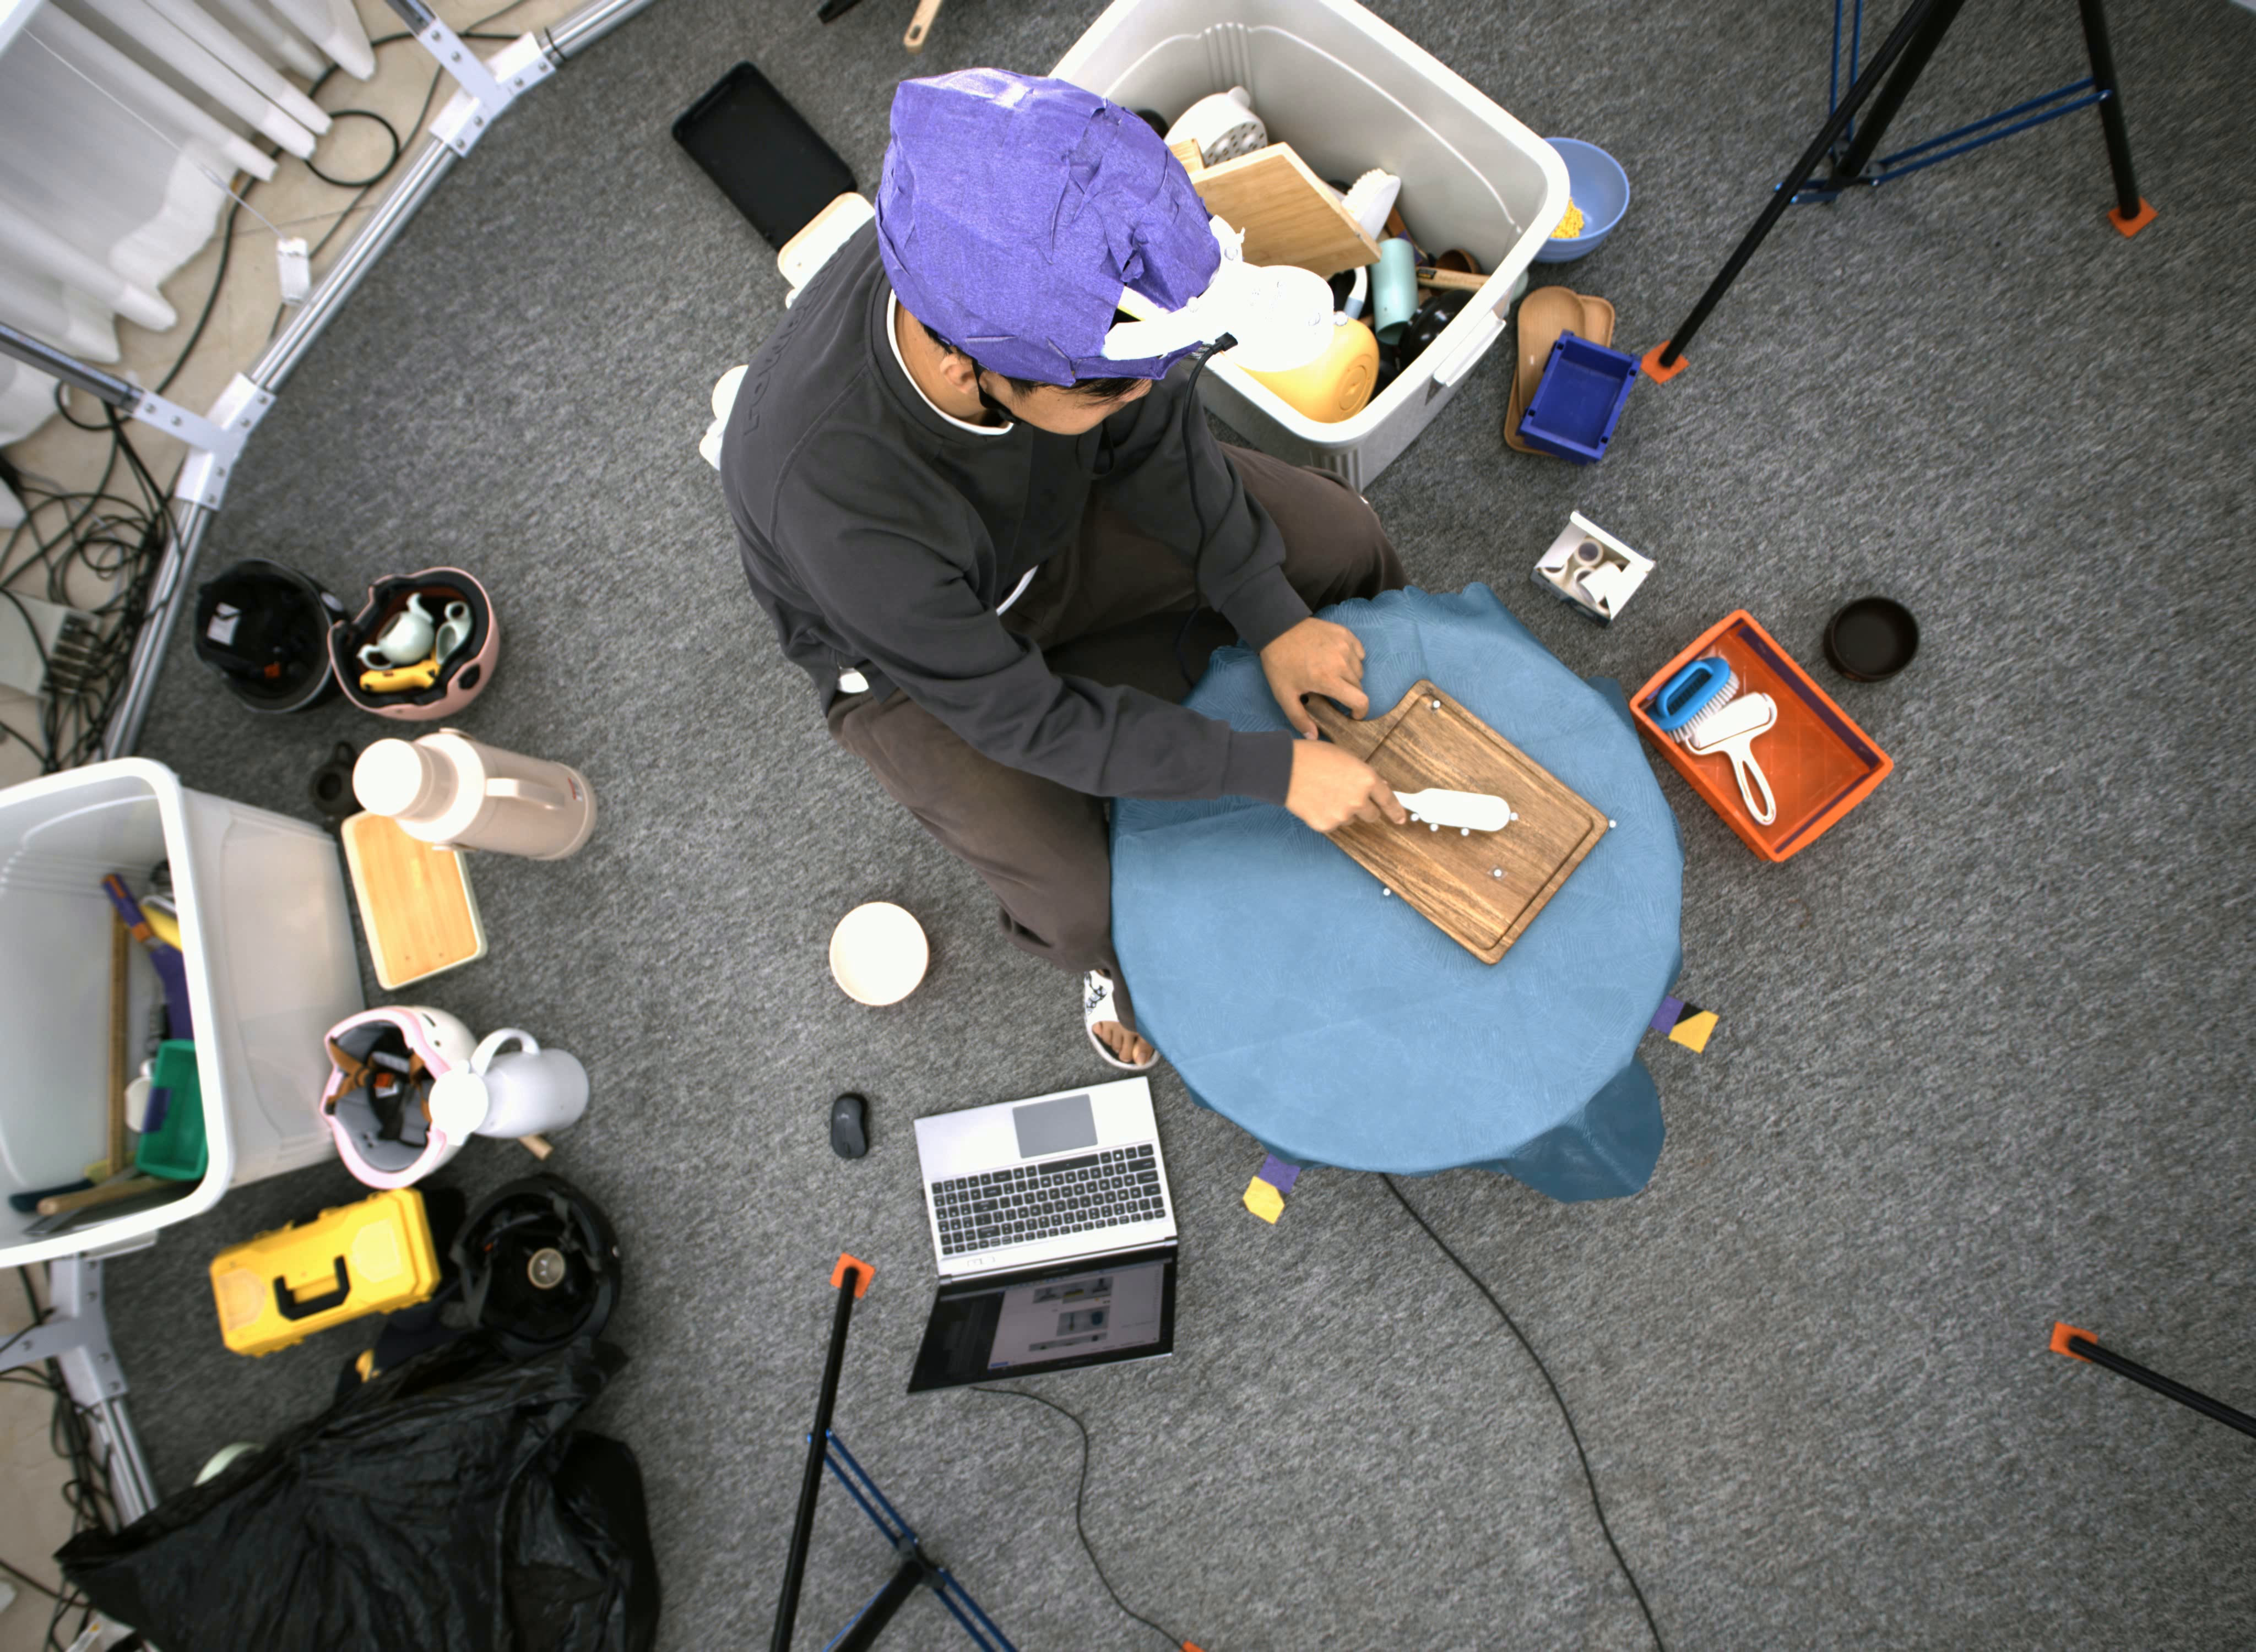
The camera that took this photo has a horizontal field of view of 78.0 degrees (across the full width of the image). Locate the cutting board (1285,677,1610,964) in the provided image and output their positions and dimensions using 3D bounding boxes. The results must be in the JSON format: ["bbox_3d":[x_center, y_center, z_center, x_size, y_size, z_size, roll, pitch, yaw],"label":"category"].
[{"bbox_3d":[0.308,-0.041,1.450,0.351,0.023,0.201,40,94,11],"label":"cutting board"}]

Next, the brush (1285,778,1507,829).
[{"bbox_3d":[0.272,-0.026,1.413,0.229,0.050,0.037,6,87,-4],"label":"brush"}]
